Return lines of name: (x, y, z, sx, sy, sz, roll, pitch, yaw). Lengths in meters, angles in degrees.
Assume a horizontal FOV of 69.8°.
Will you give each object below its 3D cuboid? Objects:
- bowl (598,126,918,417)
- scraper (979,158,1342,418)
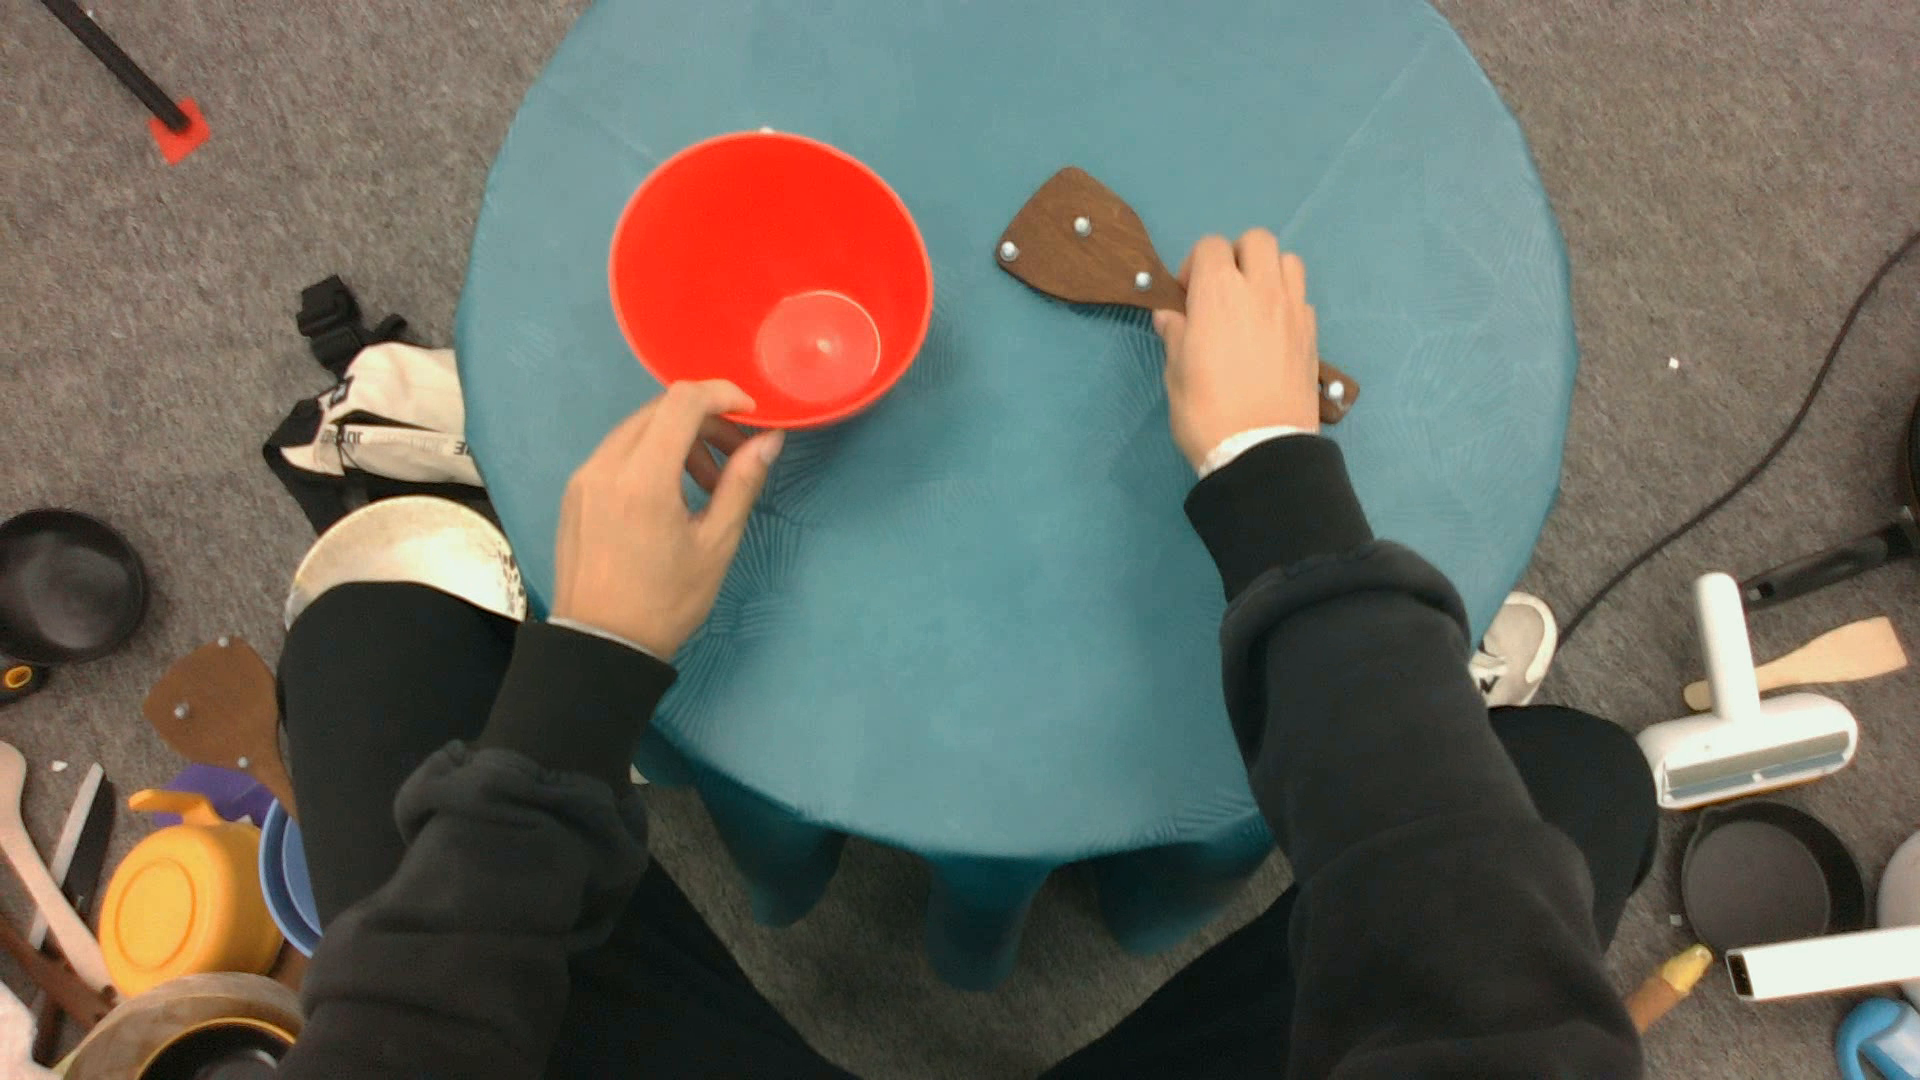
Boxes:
bowl: (-0.094, -0.119, 0.687, 0.148, 0.104, 0.148, 0, 75, 0)
scraper: (0.108, -0.129, 0.731, 0.211, 0.011, 0.076, 36, 76, 17)
